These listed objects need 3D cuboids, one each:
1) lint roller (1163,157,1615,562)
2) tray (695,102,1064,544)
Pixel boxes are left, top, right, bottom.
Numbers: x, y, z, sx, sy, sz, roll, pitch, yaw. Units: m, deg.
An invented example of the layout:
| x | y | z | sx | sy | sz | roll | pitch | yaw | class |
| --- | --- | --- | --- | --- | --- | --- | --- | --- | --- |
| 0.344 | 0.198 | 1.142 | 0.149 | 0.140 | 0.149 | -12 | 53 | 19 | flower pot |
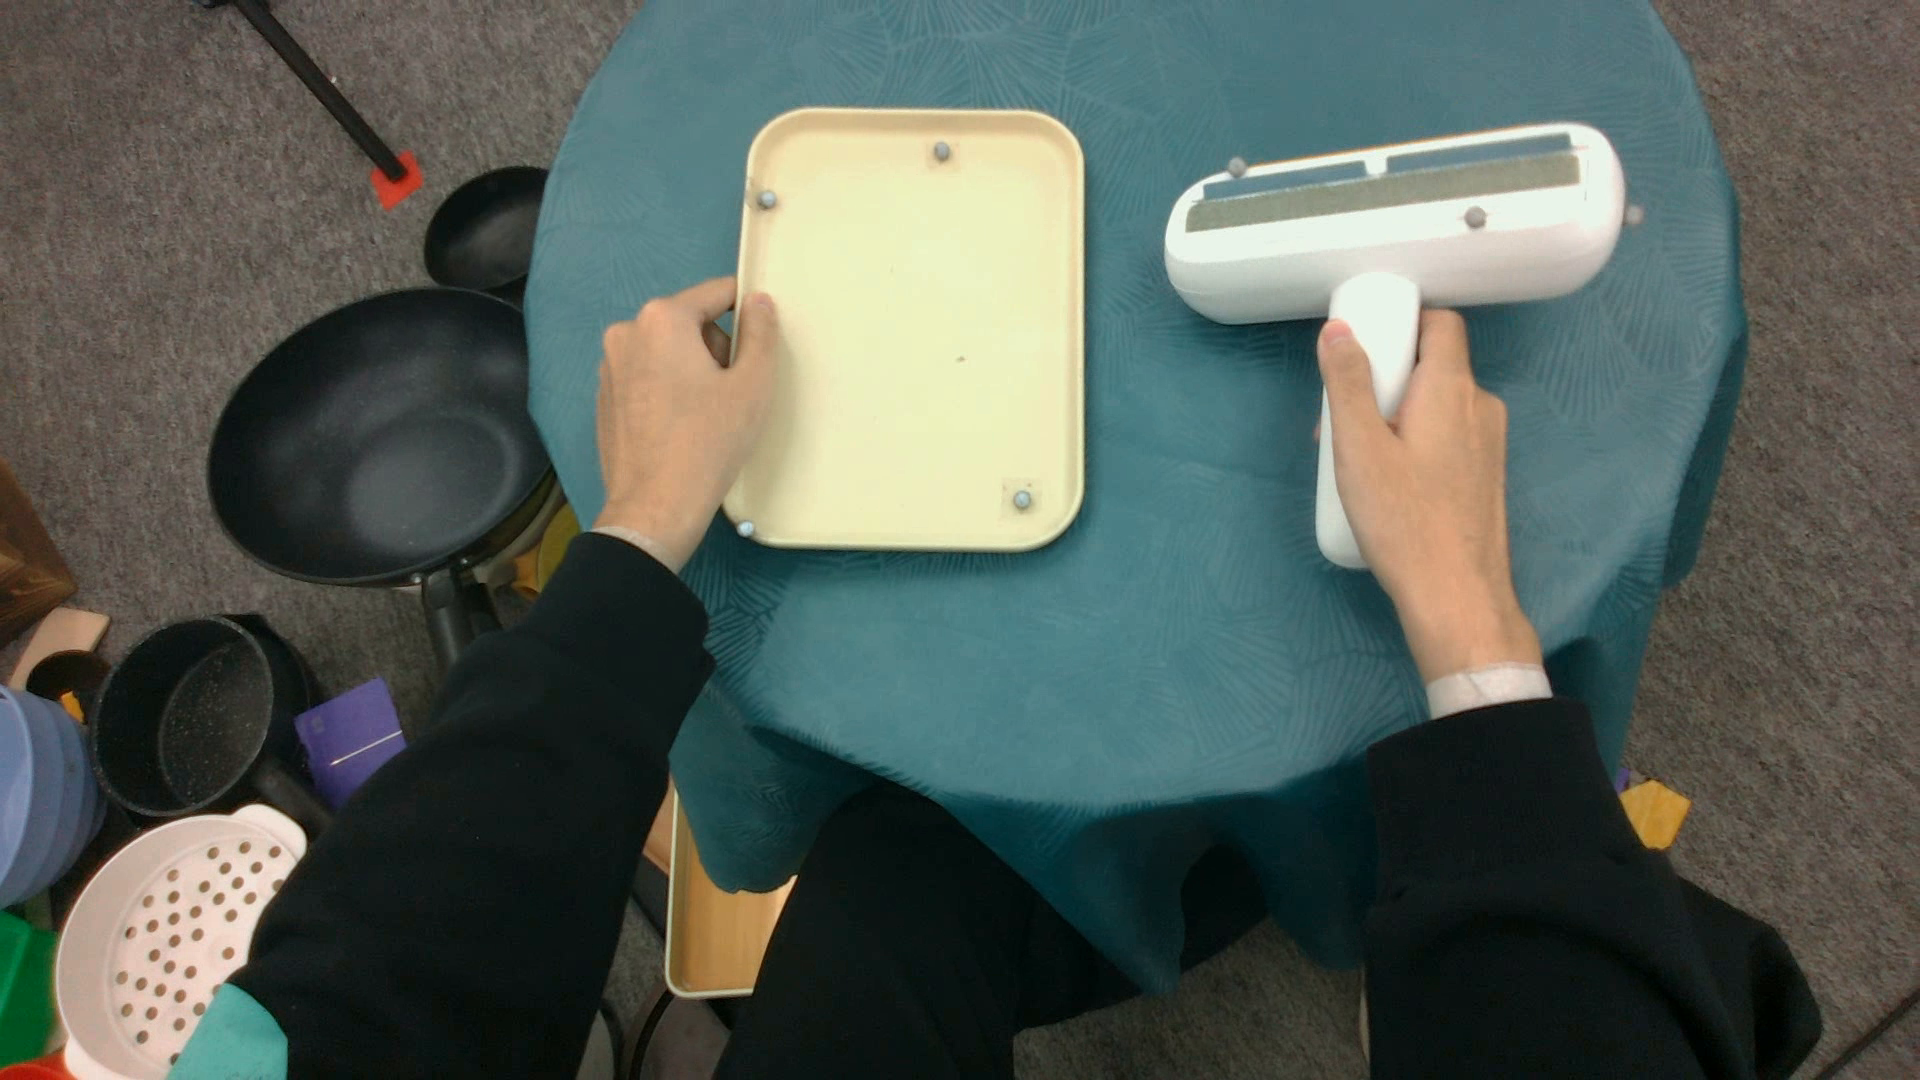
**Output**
| x | y | z | sx | sy | sz | roll | pitch | yaw | class |
| --- | --- | --- | --- | --- | --- | --- | --- | --- | --- |
| 0.173 | -0.085 | 0.601 | 0.192 | 0.074 | 0.193 | 8 | 63 | 21 | lint roller |
| -0.035 | -0.110 | 0.669 | 0.171 | 0.017 | 0.240 | 2 | 69 | 1 | tray |
